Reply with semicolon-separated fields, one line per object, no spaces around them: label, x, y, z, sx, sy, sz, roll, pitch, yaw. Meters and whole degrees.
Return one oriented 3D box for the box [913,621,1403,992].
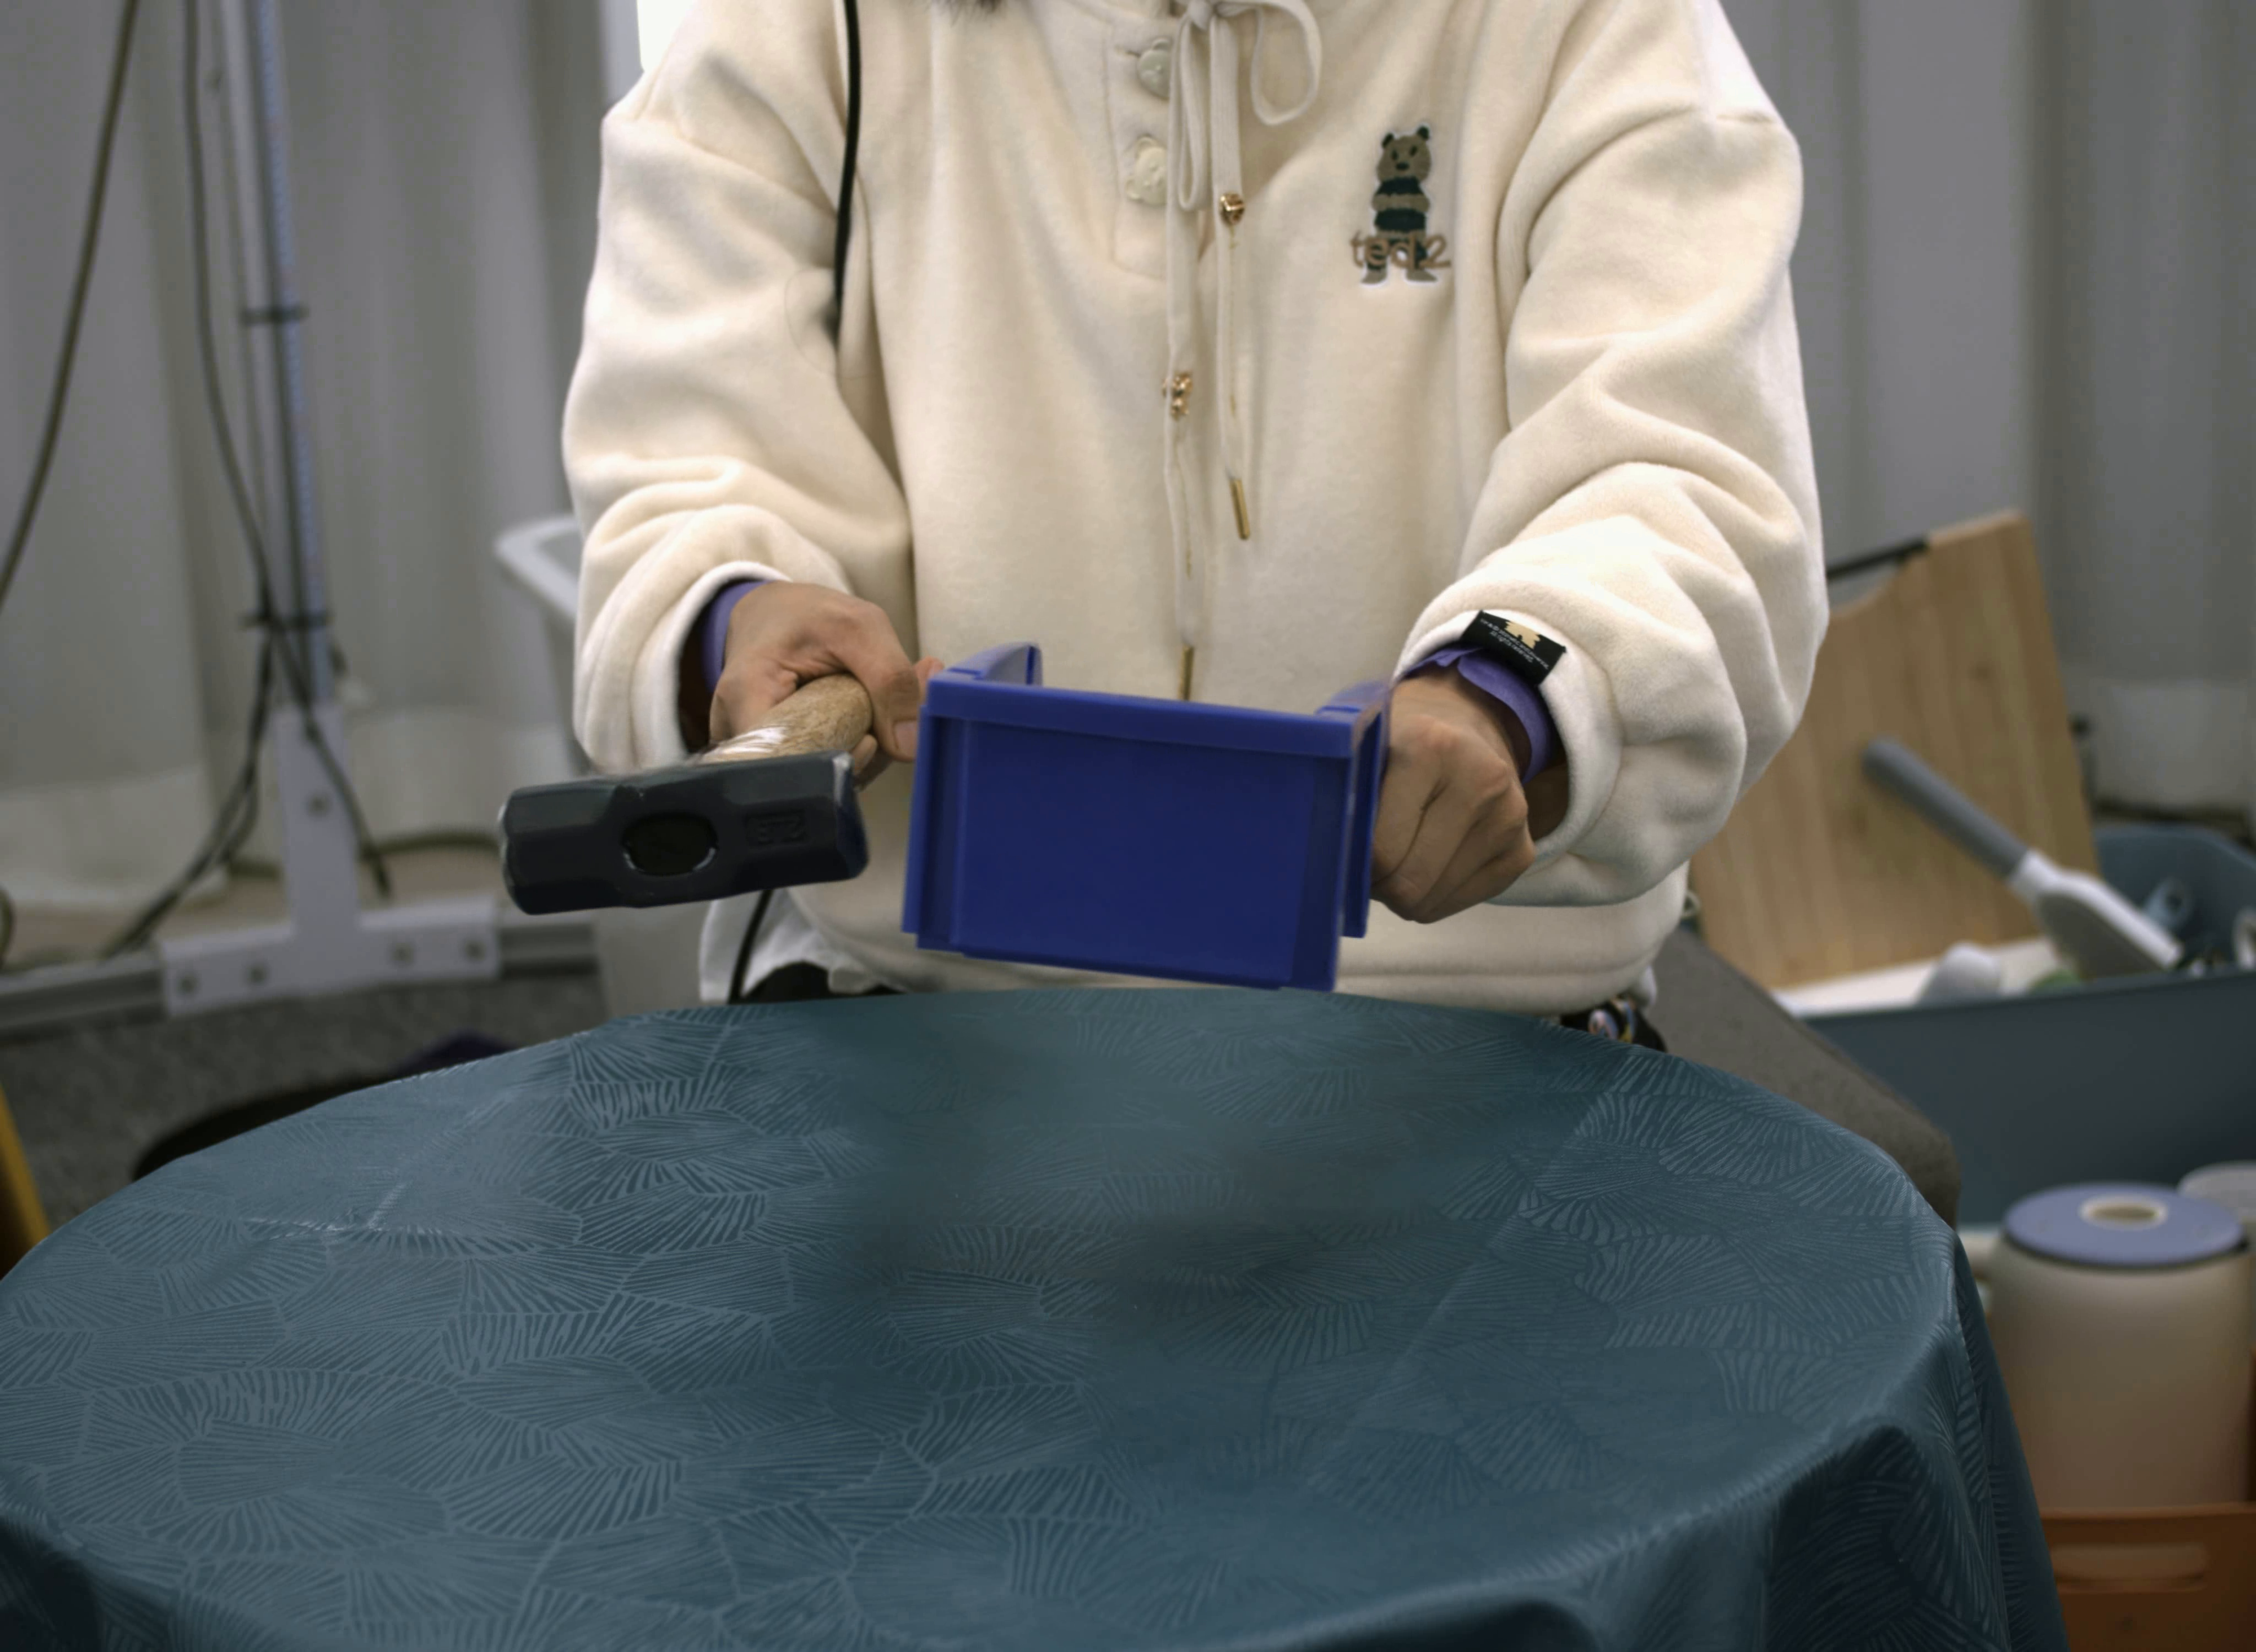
box;0.012;-0.009;1.618;0.124;0.082;0.180;6;10;7

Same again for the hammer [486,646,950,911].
hammer;-0.107;-0.022;1.737;0.107;0.038;0.306;-7;8;13
